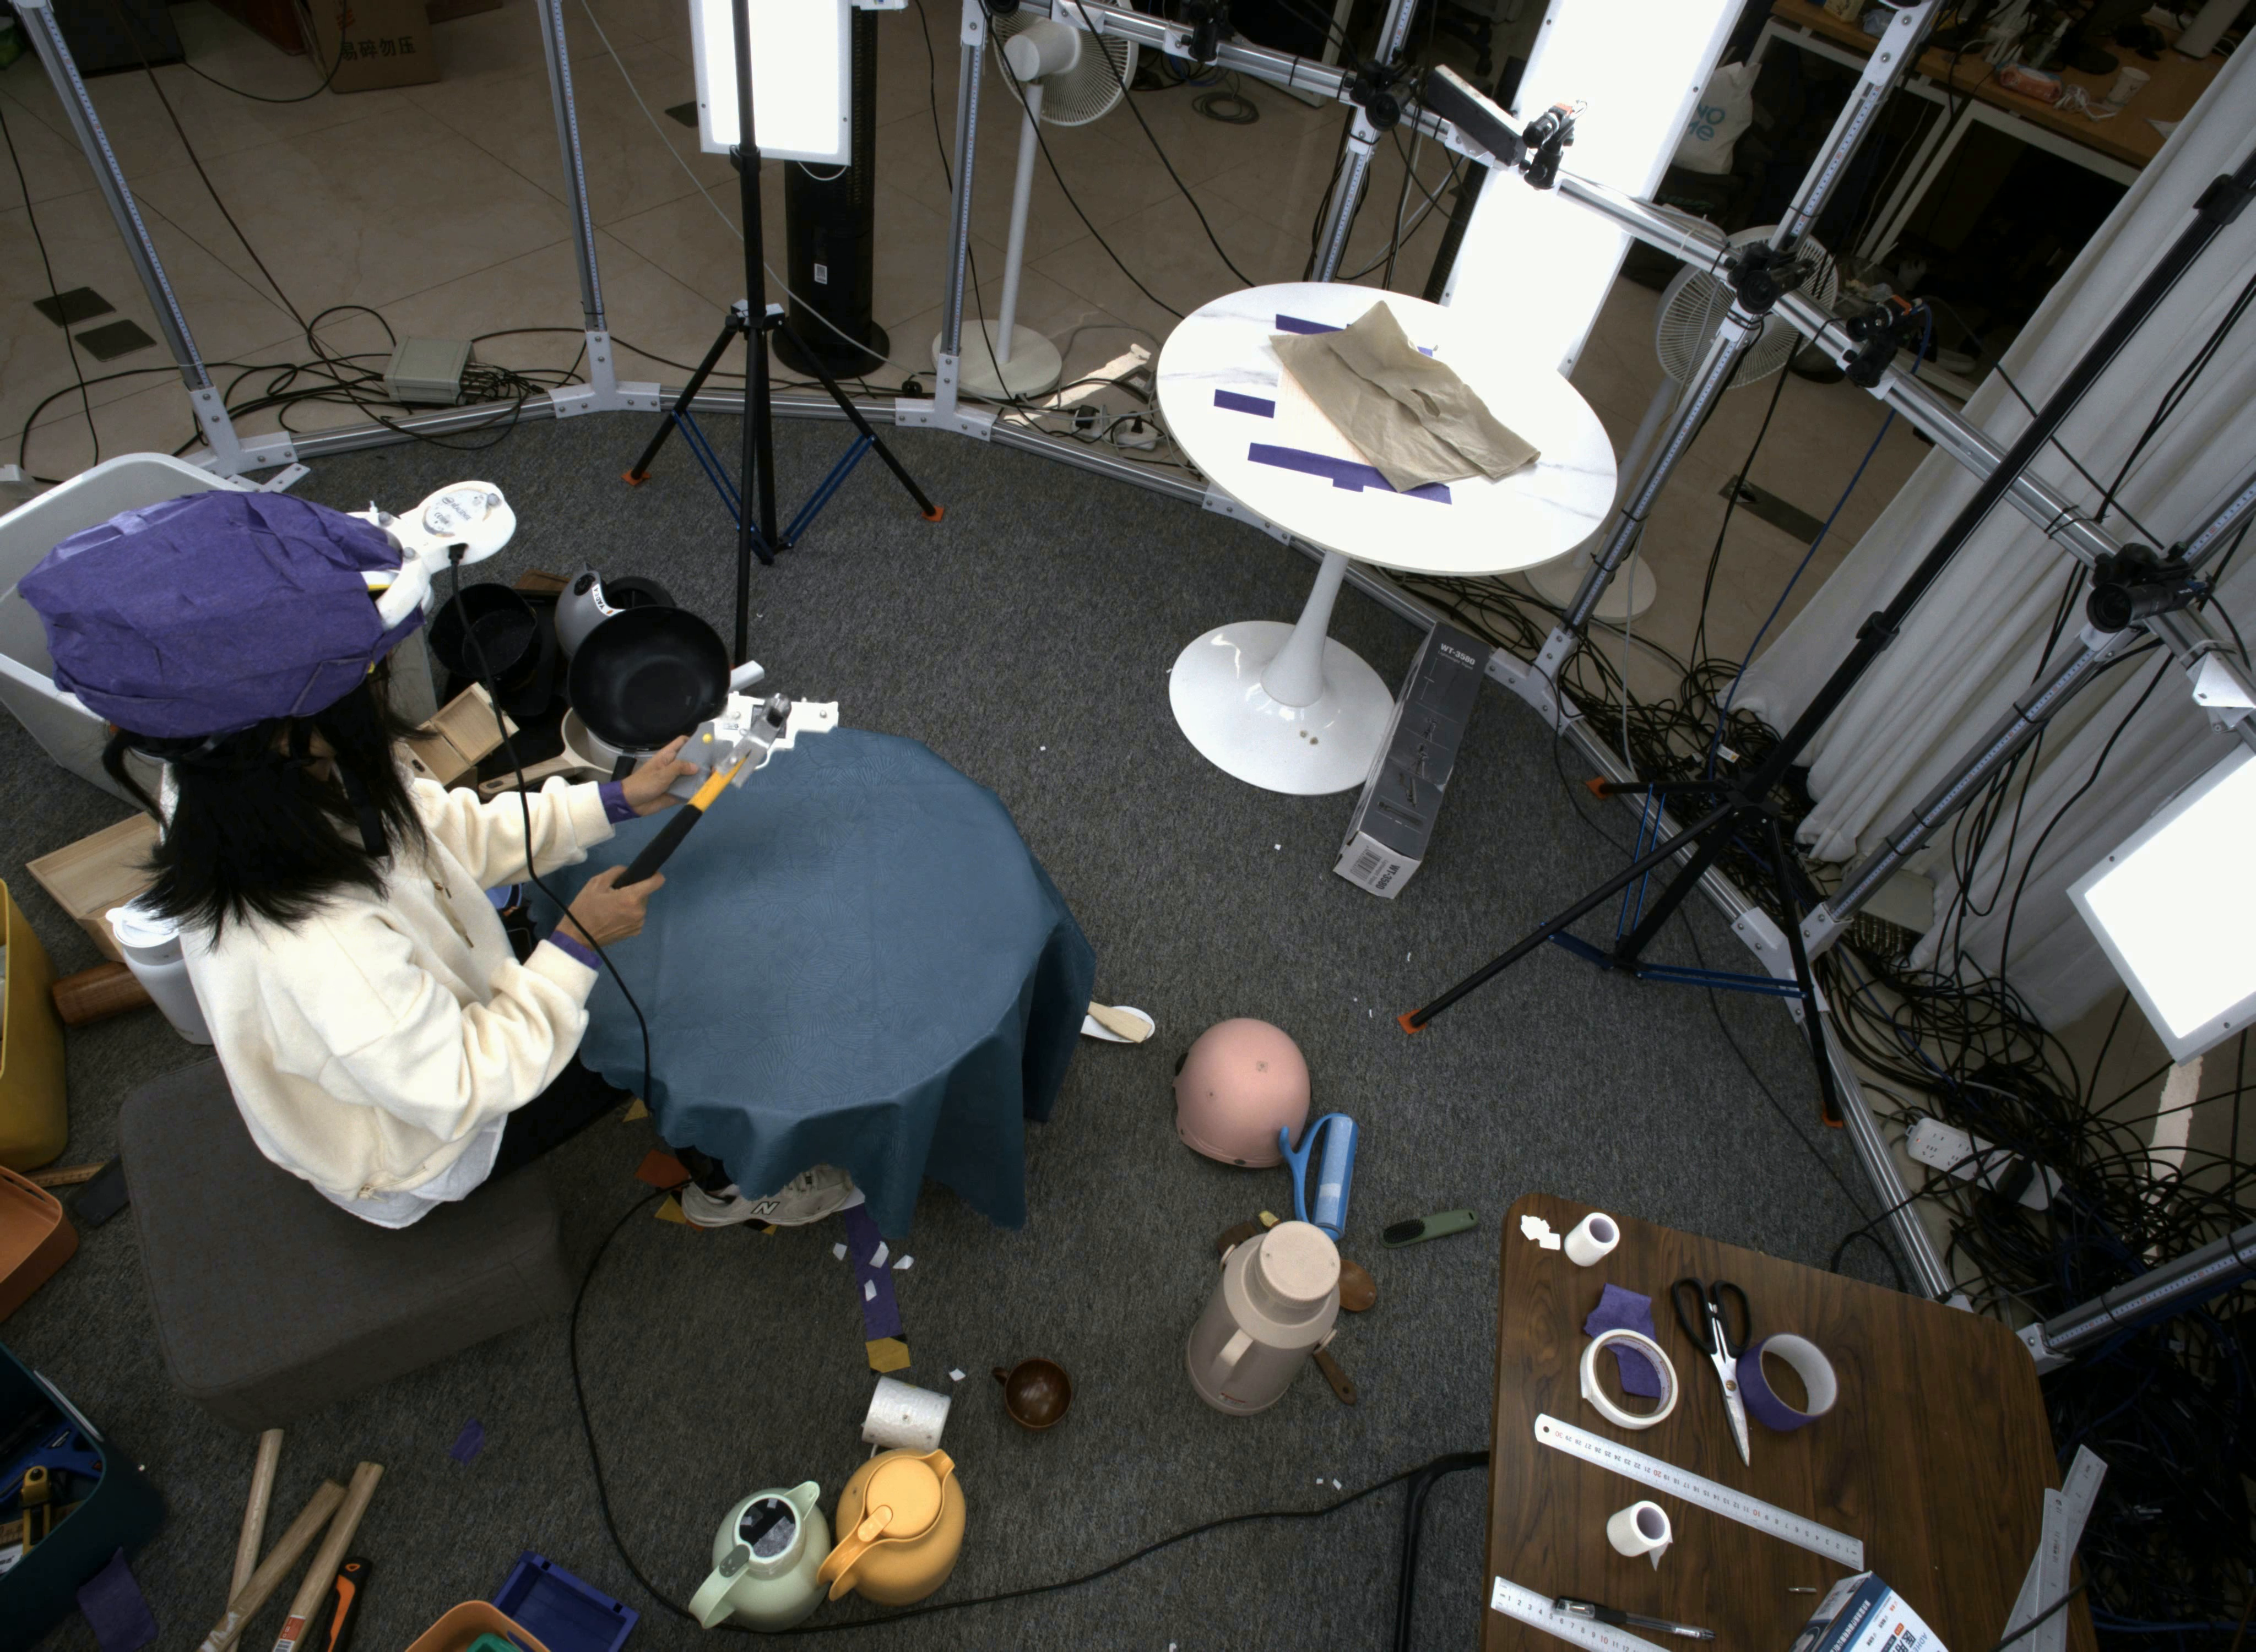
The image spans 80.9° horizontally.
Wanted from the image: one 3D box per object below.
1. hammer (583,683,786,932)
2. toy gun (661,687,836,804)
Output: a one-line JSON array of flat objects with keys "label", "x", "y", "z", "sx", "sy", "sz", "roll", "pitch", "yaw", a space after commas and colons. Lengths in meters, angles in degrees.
[{"label": "hammer", "x": -0.489, "y": -0.011, "z": 1.387, "sx": 0.033, "sy": 0.338, "sz": 0.128, "roll": 40, "pitch": 15, "yaw": -20}, {"label": "toy gun", "x": -0.467, "y": -0.099, "z": 1.593, "sx": 0.209, "sy": 0.038, "sz": 0.142, "roll": 1, "pitch": 79, "yaw": -15}]
